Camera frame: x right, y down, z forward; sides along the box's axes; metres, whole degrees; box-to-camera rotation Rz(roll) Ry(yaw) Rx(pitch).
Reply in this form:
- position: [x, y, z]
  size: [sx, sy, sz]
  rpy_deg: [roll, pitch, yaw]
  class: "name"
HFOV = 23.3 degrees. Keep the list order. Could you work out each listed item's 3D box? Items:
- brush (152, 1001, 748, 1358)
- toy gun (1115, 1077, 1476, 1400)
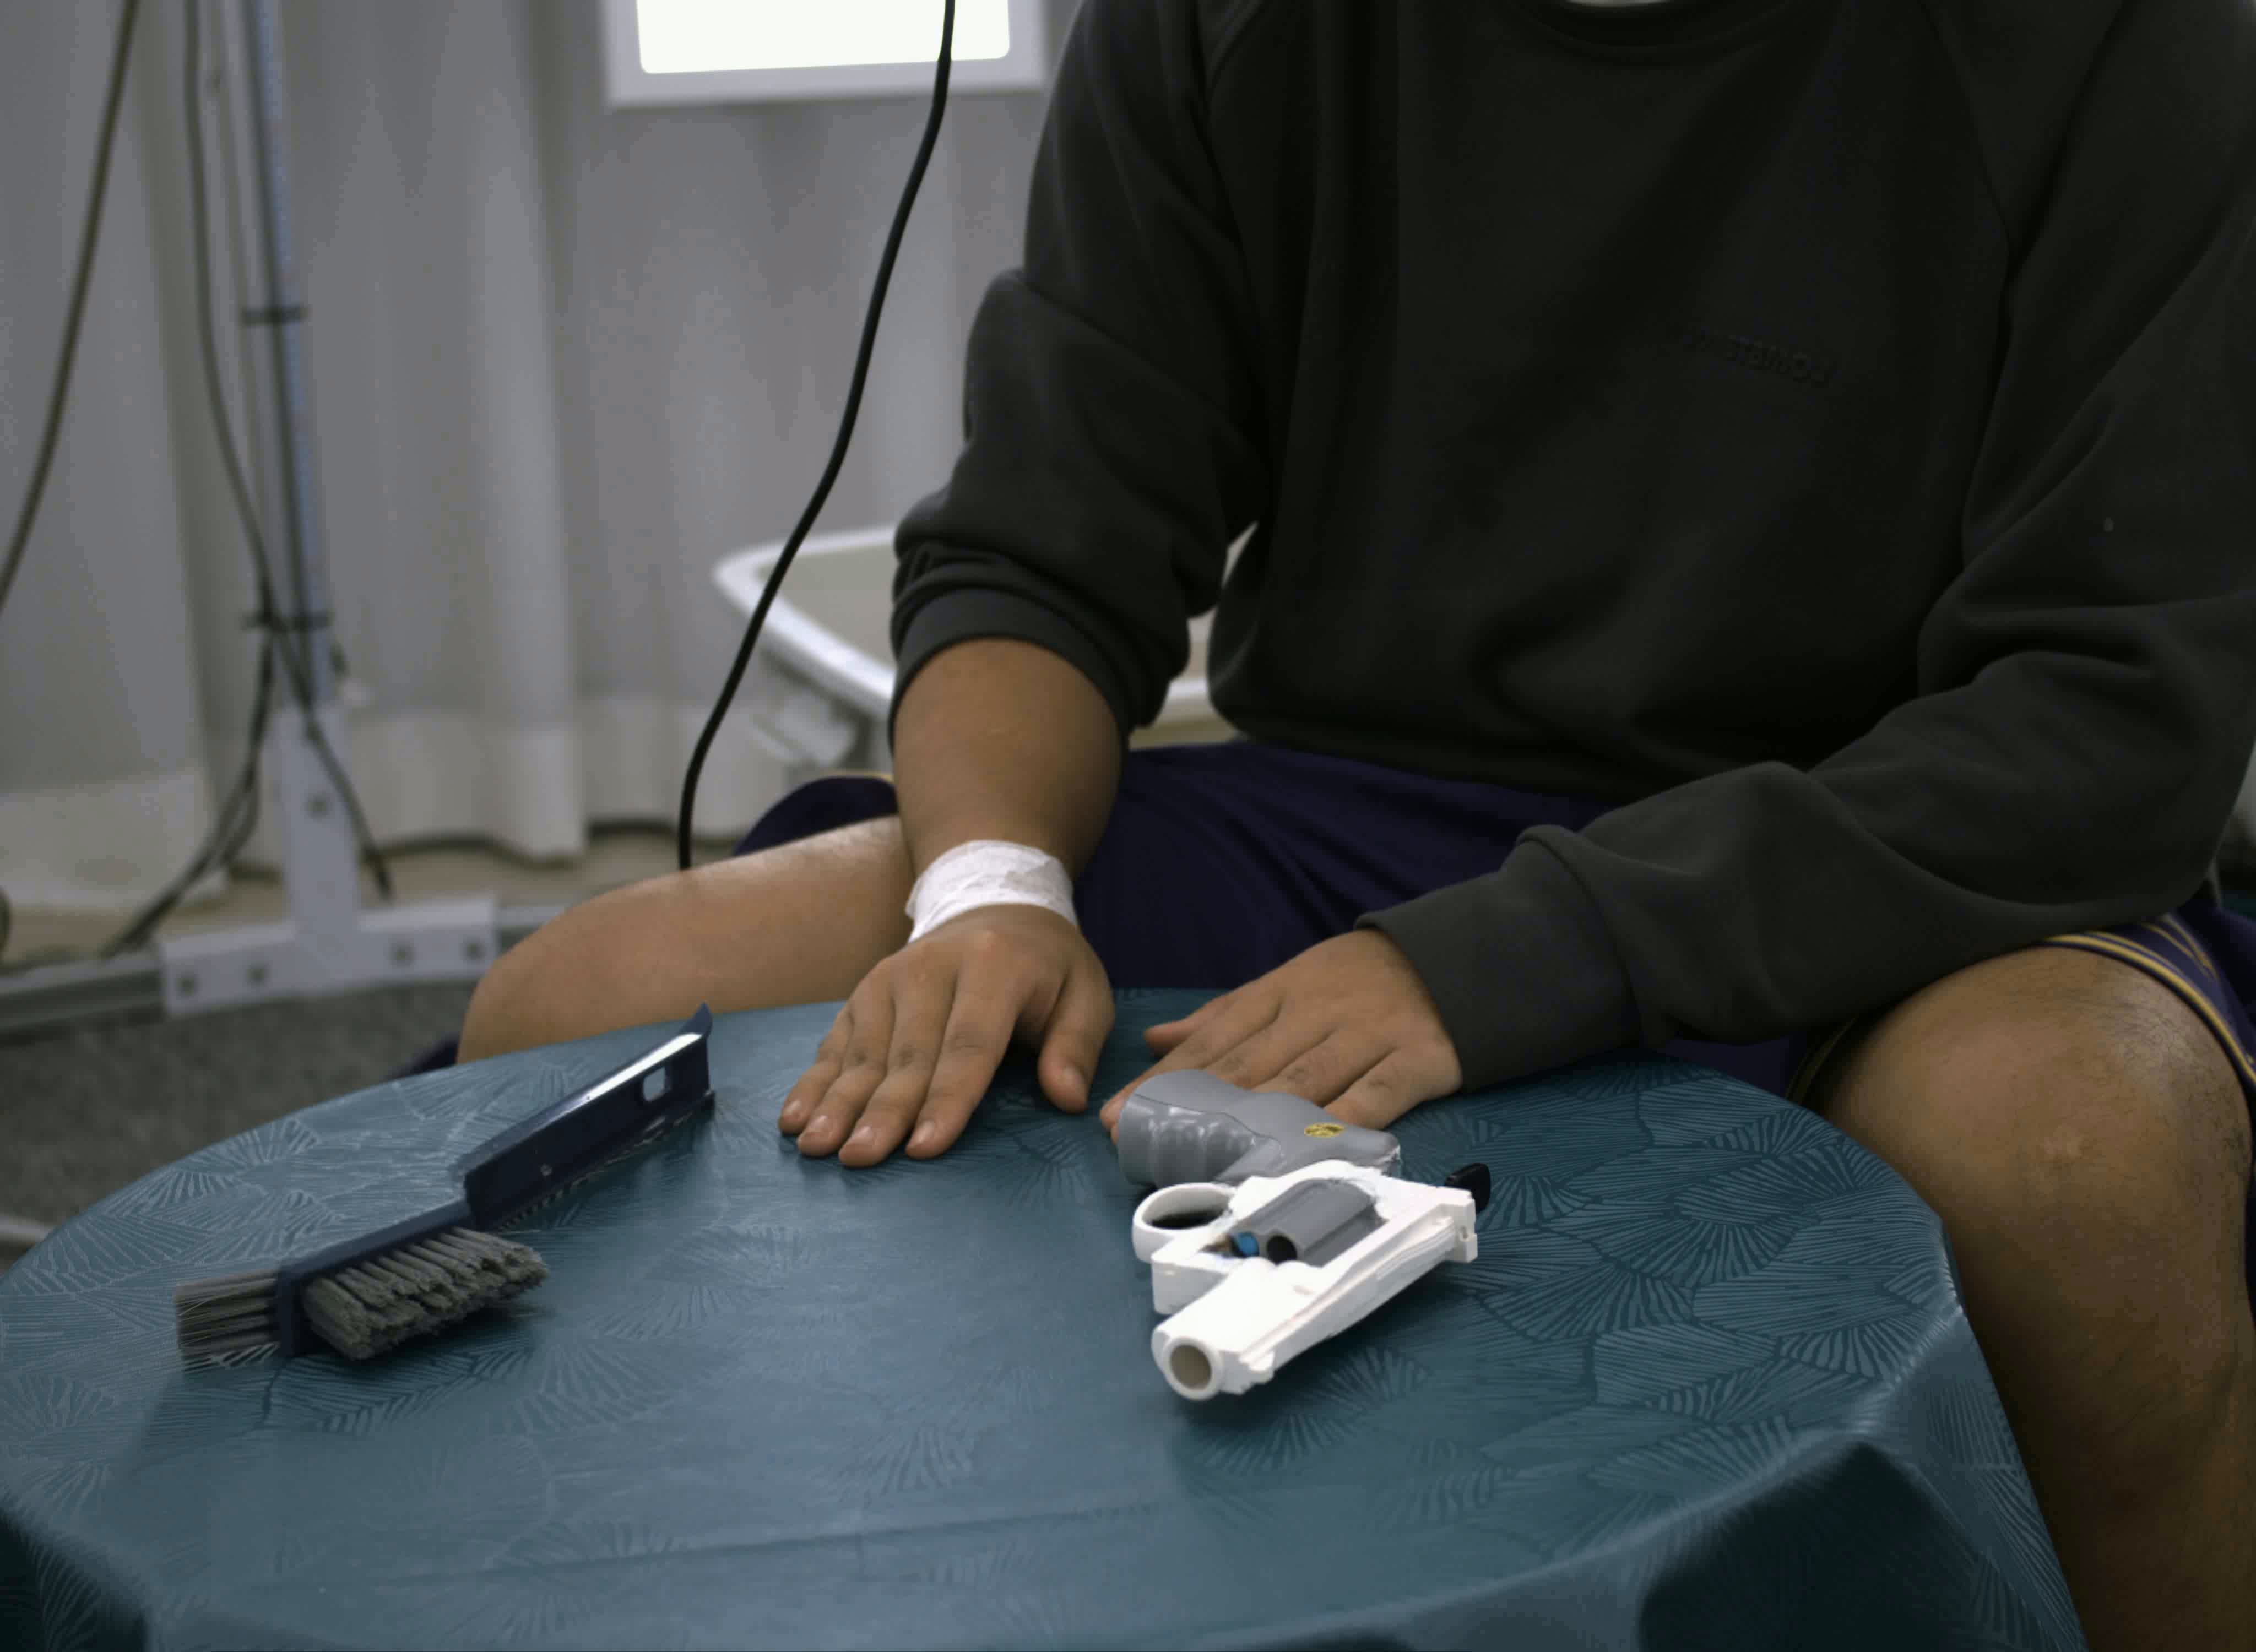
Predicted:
- position: [-0.201, 0.109, 1.714]
  size: [0.096, 0.033, 0.274]
  rpy_deg: [2, 16, 19]
  class: "brush"
- position: [0.028, 0.120, 1.618]
  size: [0.142, 0.038, 0.209]
  rpy_deg: [4, 16, 29]
  class: "toy gun"
